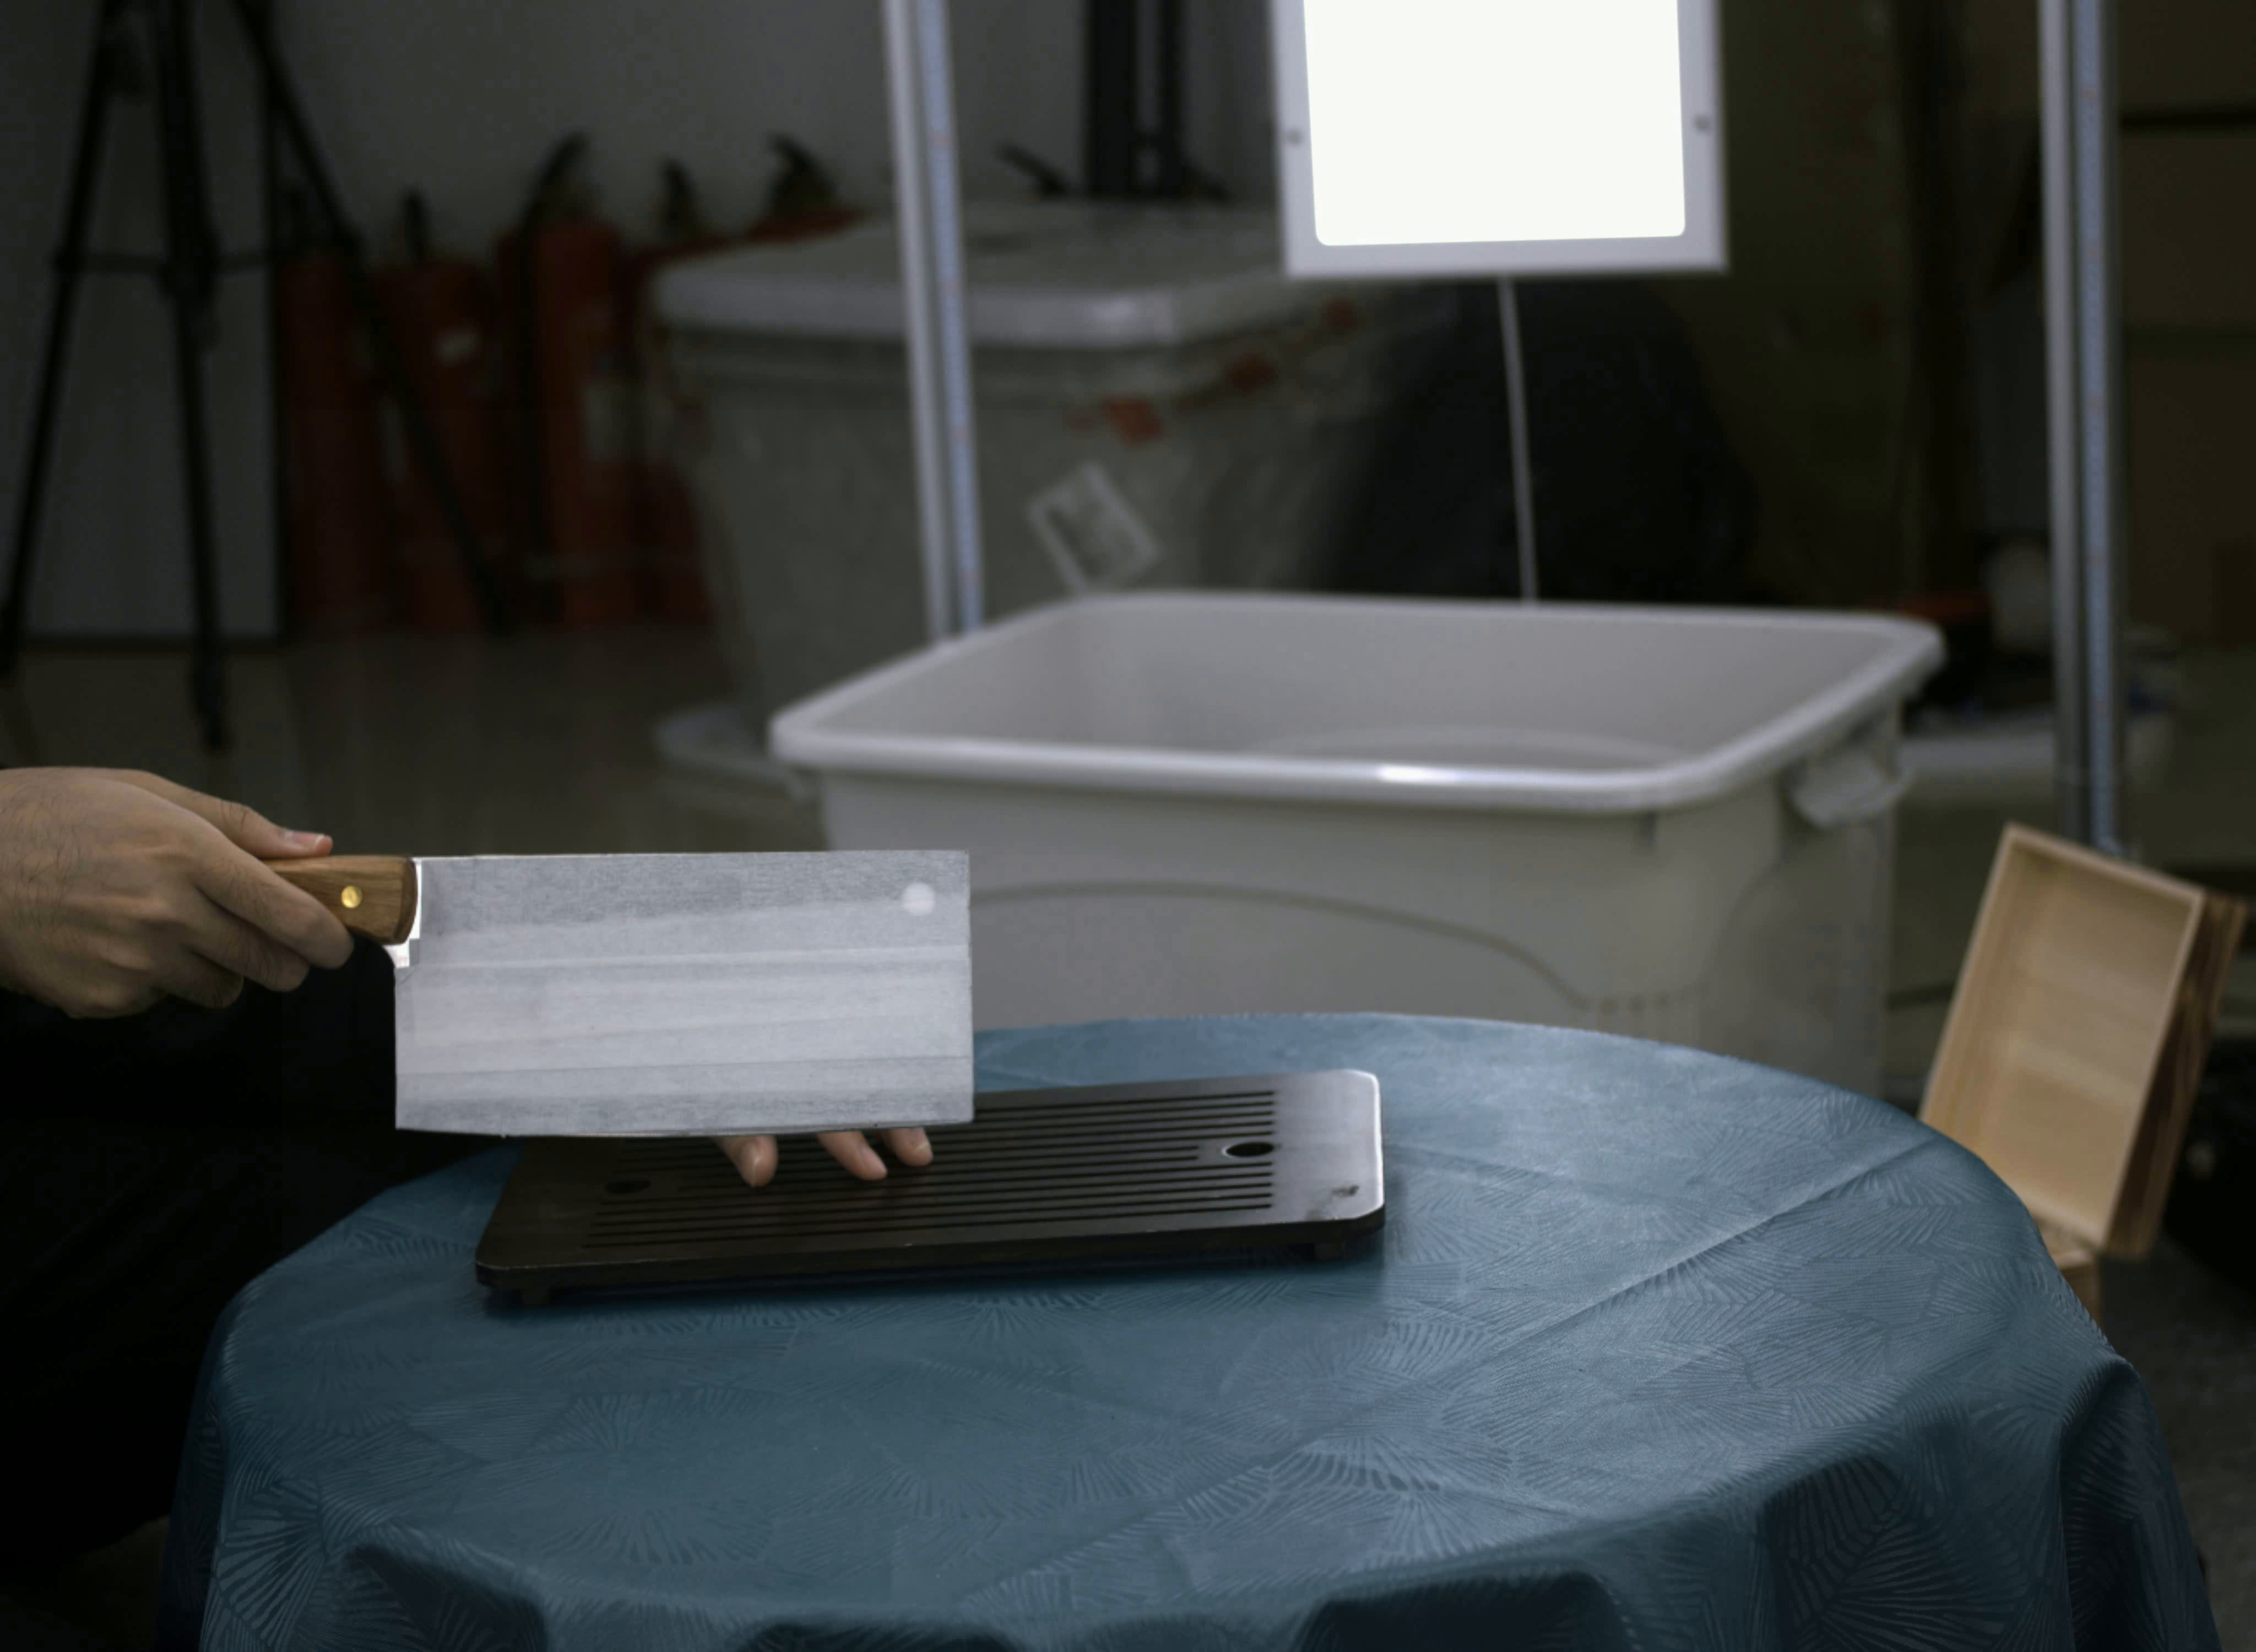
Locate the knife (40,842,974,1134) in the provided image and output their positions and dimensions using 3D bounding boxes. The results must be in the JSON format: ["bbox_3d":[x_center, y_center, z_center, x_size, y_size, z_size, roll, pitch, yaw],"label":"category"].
[{"bbox_3d":[-0.202,0.053,1.788,0.306,0.093,0.021,-1,3,7],"label":"knife"}]

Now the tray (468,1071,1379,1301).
[{"bbox_3d":[-0.066,0.124,1.895,0.306,0.019,0.169,-4,14,5],"label":"tray"}]
